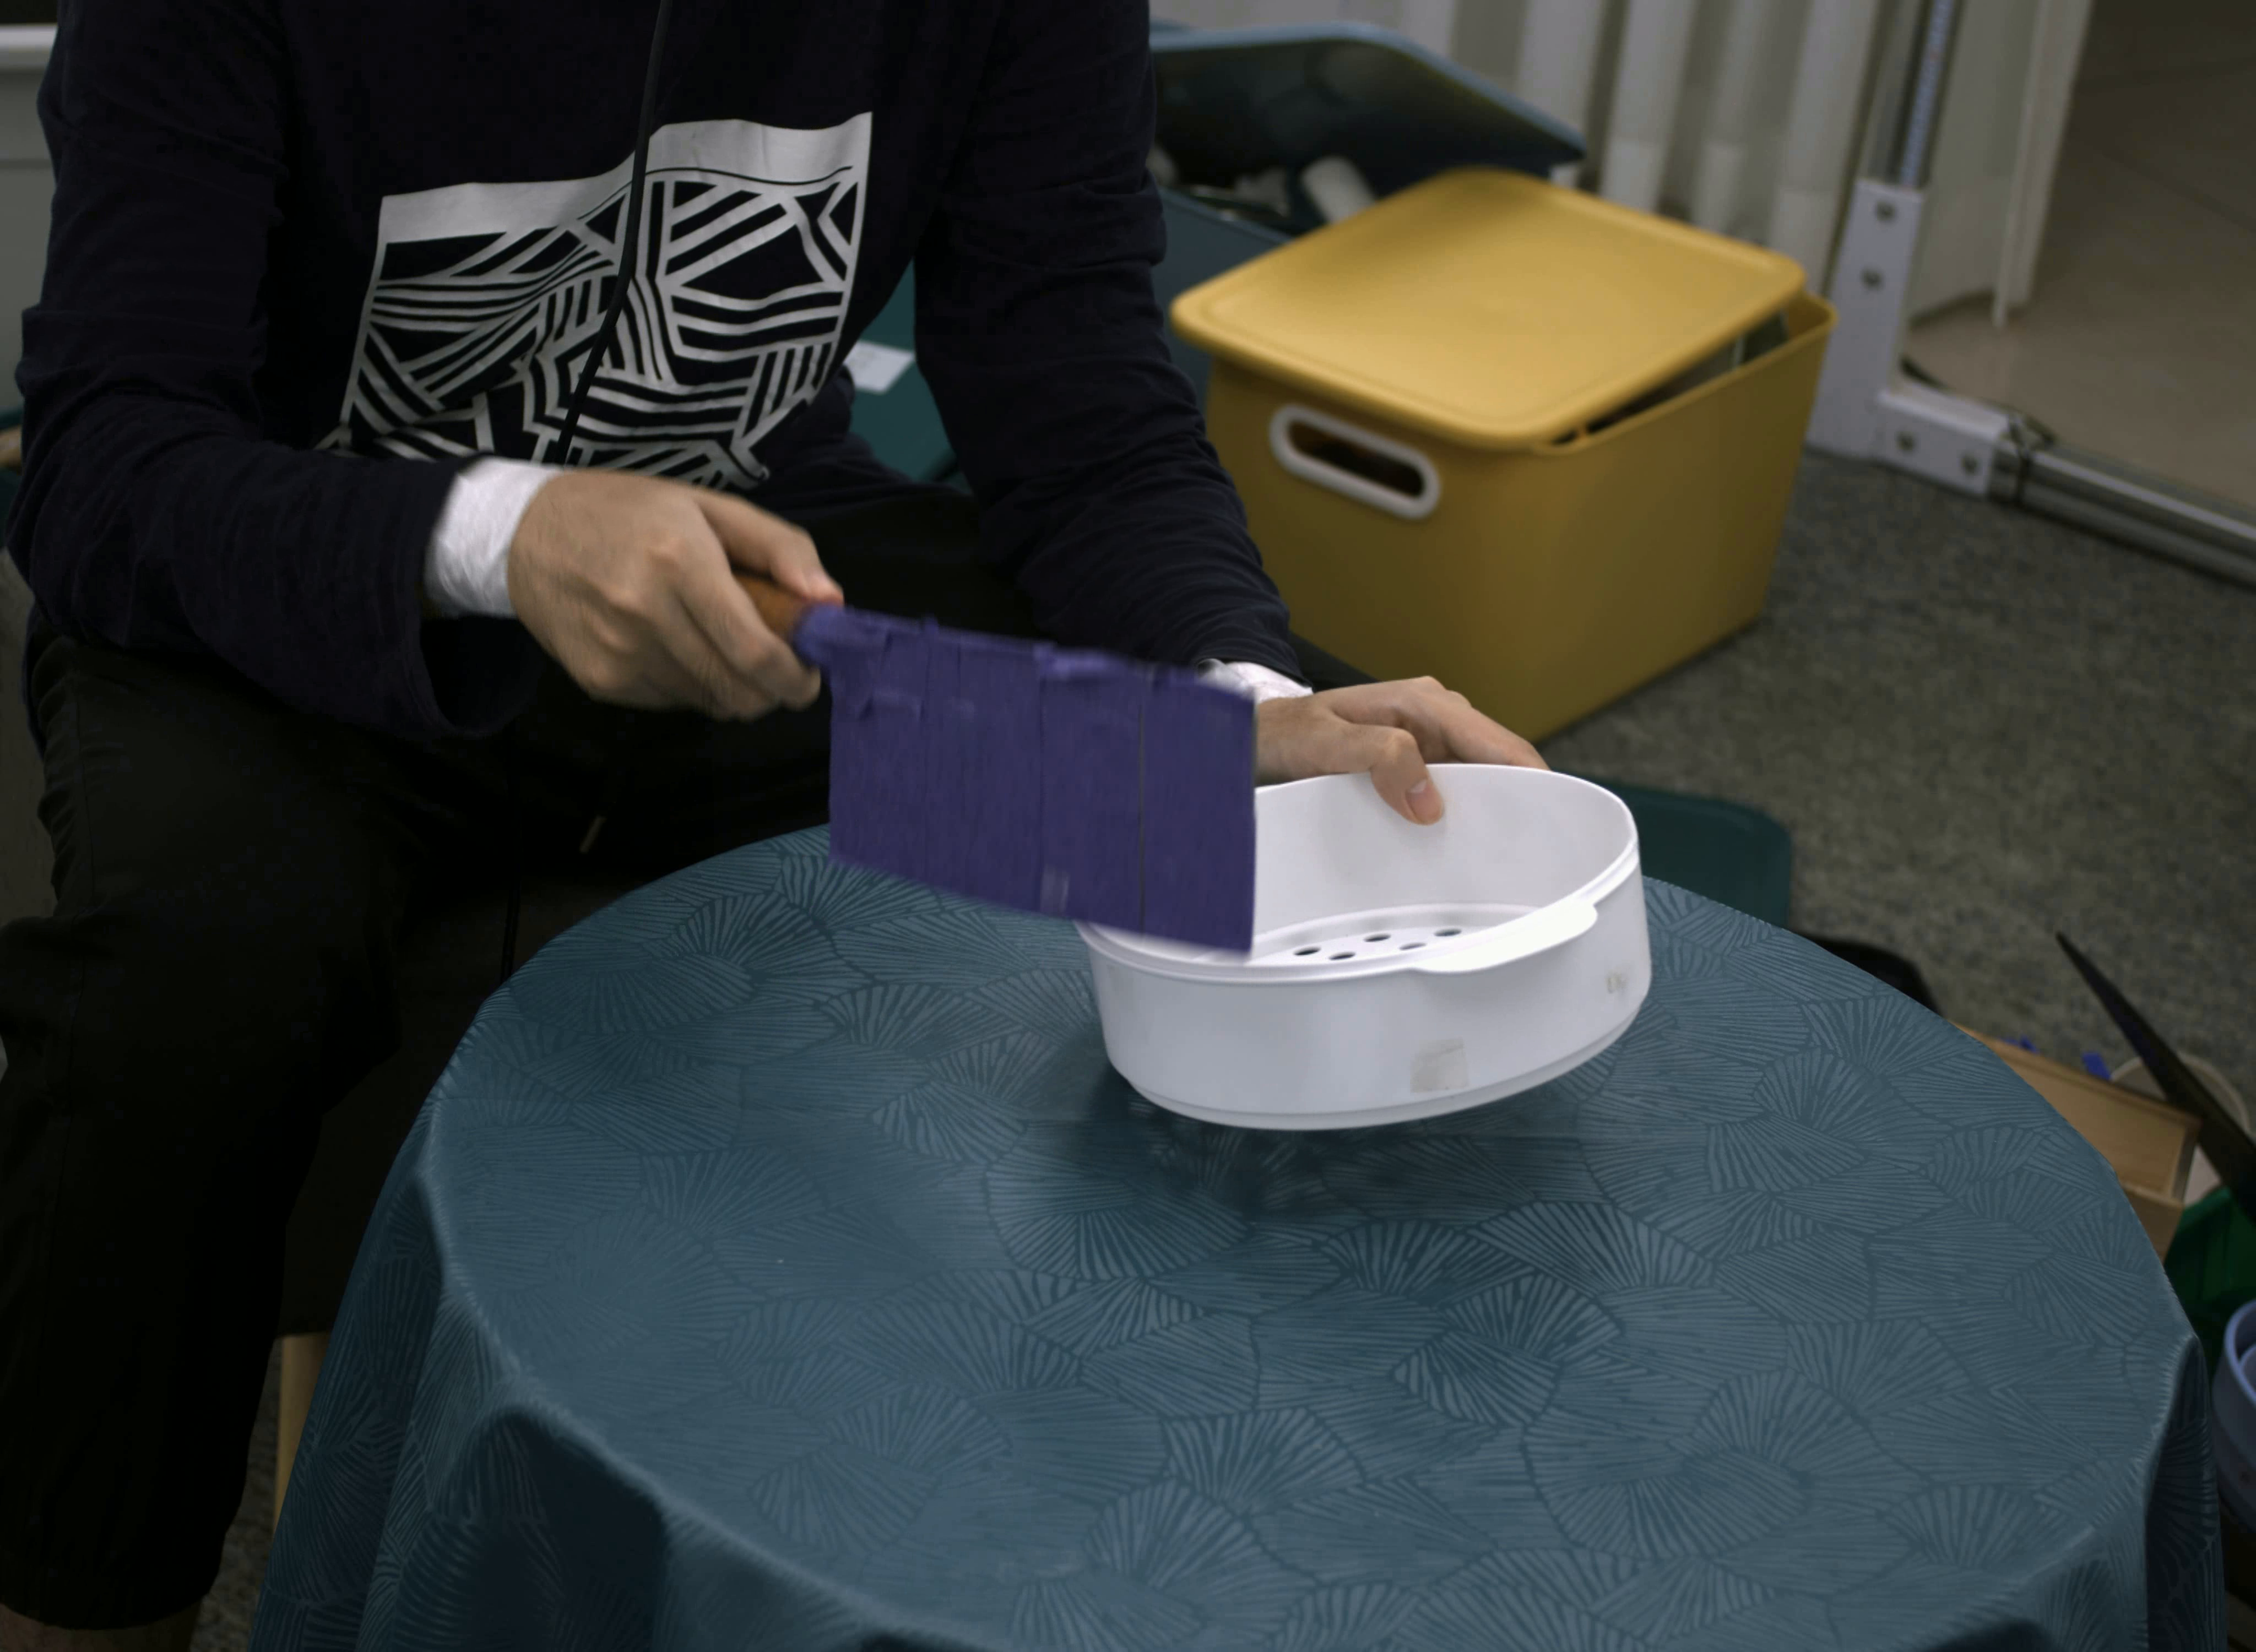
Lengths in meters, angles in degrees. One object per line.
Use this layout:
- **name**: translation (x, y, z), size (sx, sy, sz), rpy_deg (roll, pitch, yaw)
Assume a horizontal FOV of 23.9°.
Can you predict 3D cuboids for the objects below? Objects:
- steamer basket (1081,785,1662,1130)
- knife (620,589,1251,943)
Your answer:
- **steamer basket**: translation (0.087, 0.046, 1.854), size (0.201, 0.069, 0.232), rpy_deg (-17, 17, -24)
- **knife**: translation (-0.070, -0.020, 1.800), size (0.032, 0.104, 0.317), rpy_deg (-4, 11, -41)
